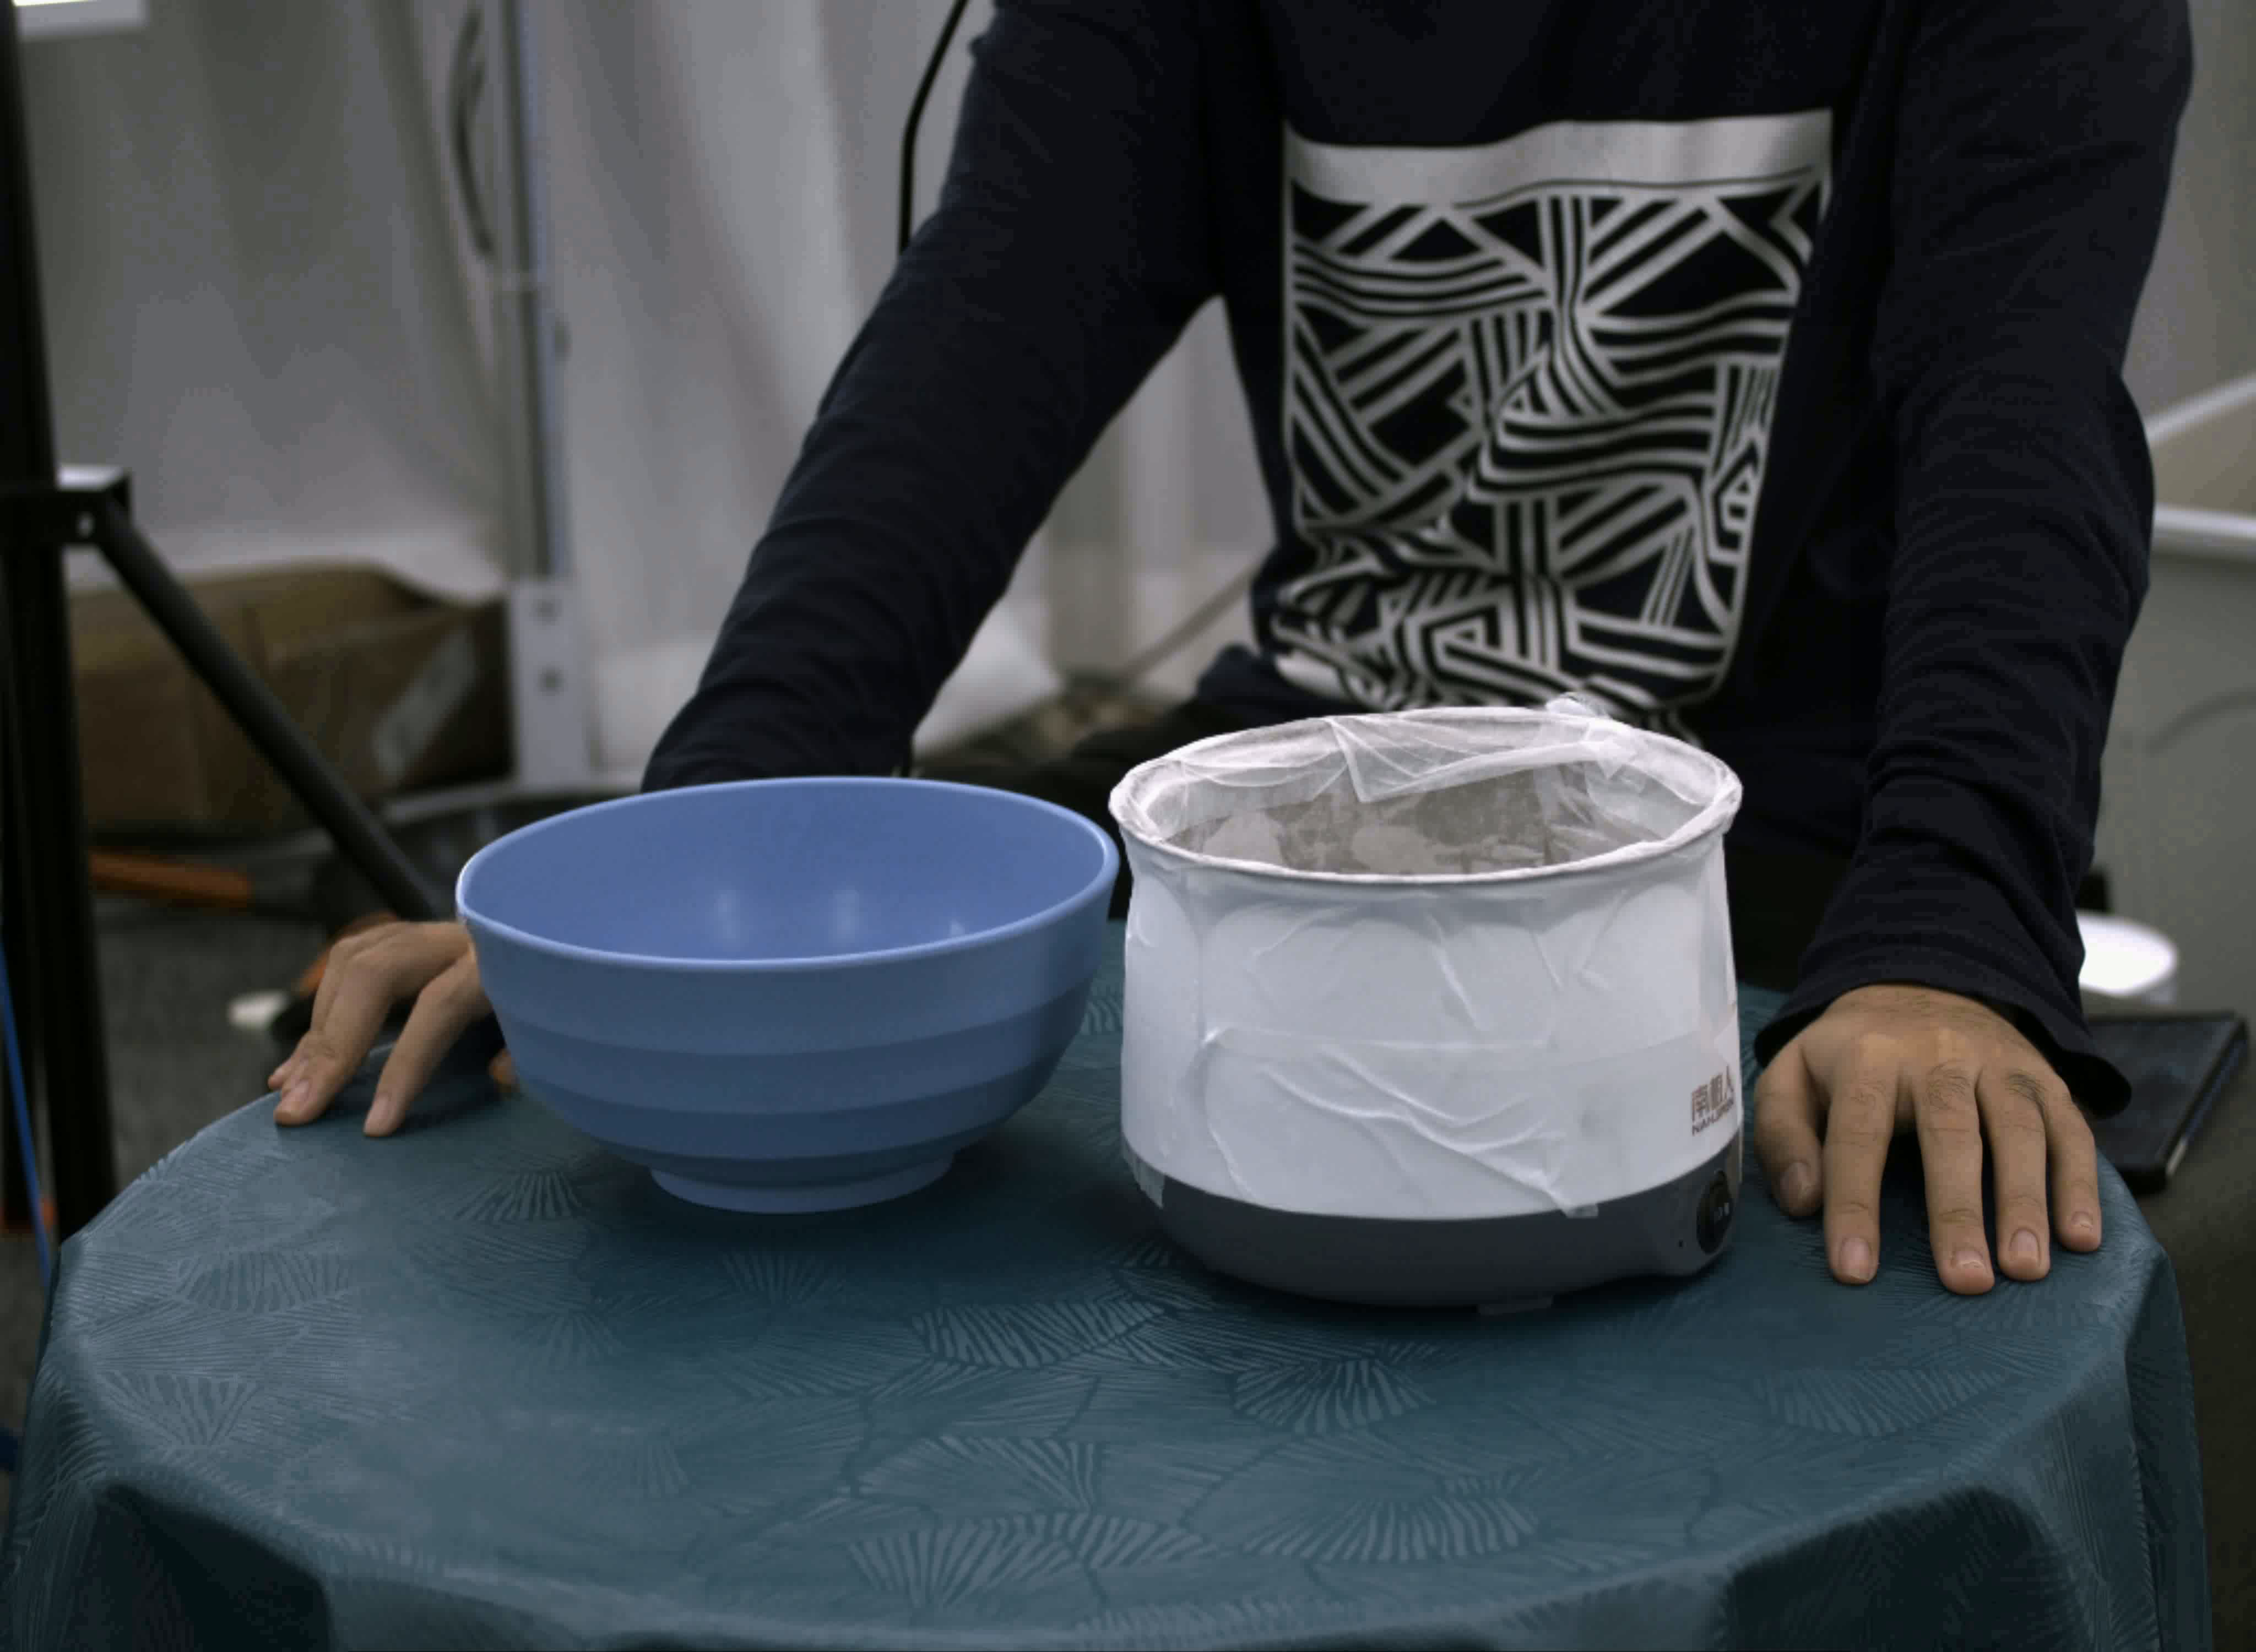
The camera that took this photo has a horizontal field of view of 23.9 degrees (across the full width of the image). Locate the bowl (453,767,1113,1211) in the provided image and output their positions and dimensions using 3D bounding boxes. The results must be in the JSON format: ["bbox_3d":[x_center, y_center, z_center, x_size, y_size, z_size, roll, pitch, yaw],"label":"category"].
[{"bbox_3d":[-0.099,0.054,1.587,0.195,0.095,0.197,-5,17,0],"label":"bowl"}]

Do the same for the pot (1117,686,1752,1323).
[{"bbox_3d":[0.098,0.043,1.522,0.181,0.136,0.230,9,19,26],"label":"pot"}]
